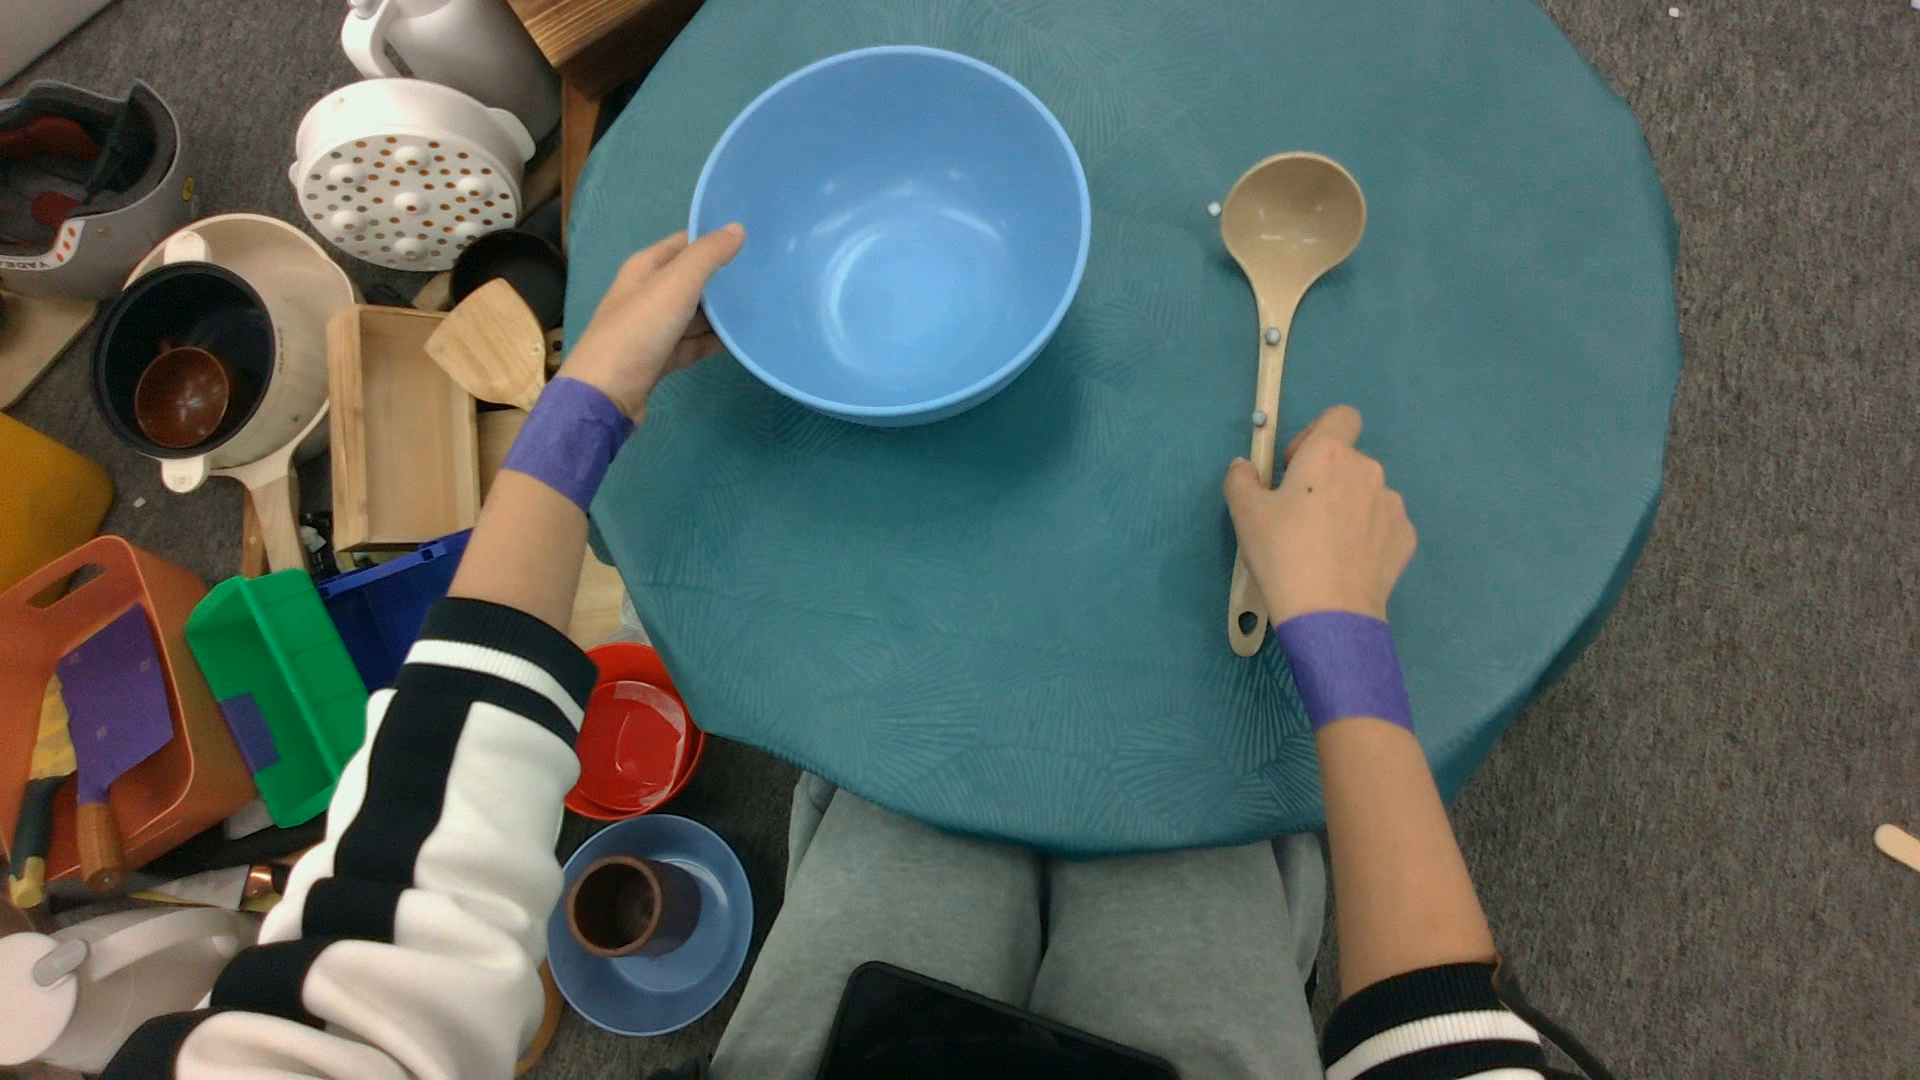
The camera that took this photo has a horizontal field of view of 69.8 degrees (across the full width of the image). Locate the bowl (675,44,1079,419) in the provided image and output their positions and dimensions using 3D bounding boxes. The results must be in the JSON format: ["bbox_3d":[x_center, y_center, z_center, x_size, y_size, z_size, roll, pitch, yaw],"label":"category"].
[{"bbox_3d":[-0.039,-0.144,0.711,0.196,0.095,0.197,0,74,1],"label":"bowl"}]

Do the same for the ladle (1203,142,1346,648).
[{"bbox_3d":[0.153,-0.077,0.689,0.072,0.072,0.255,5,75,5],"label":"ladle"}]
